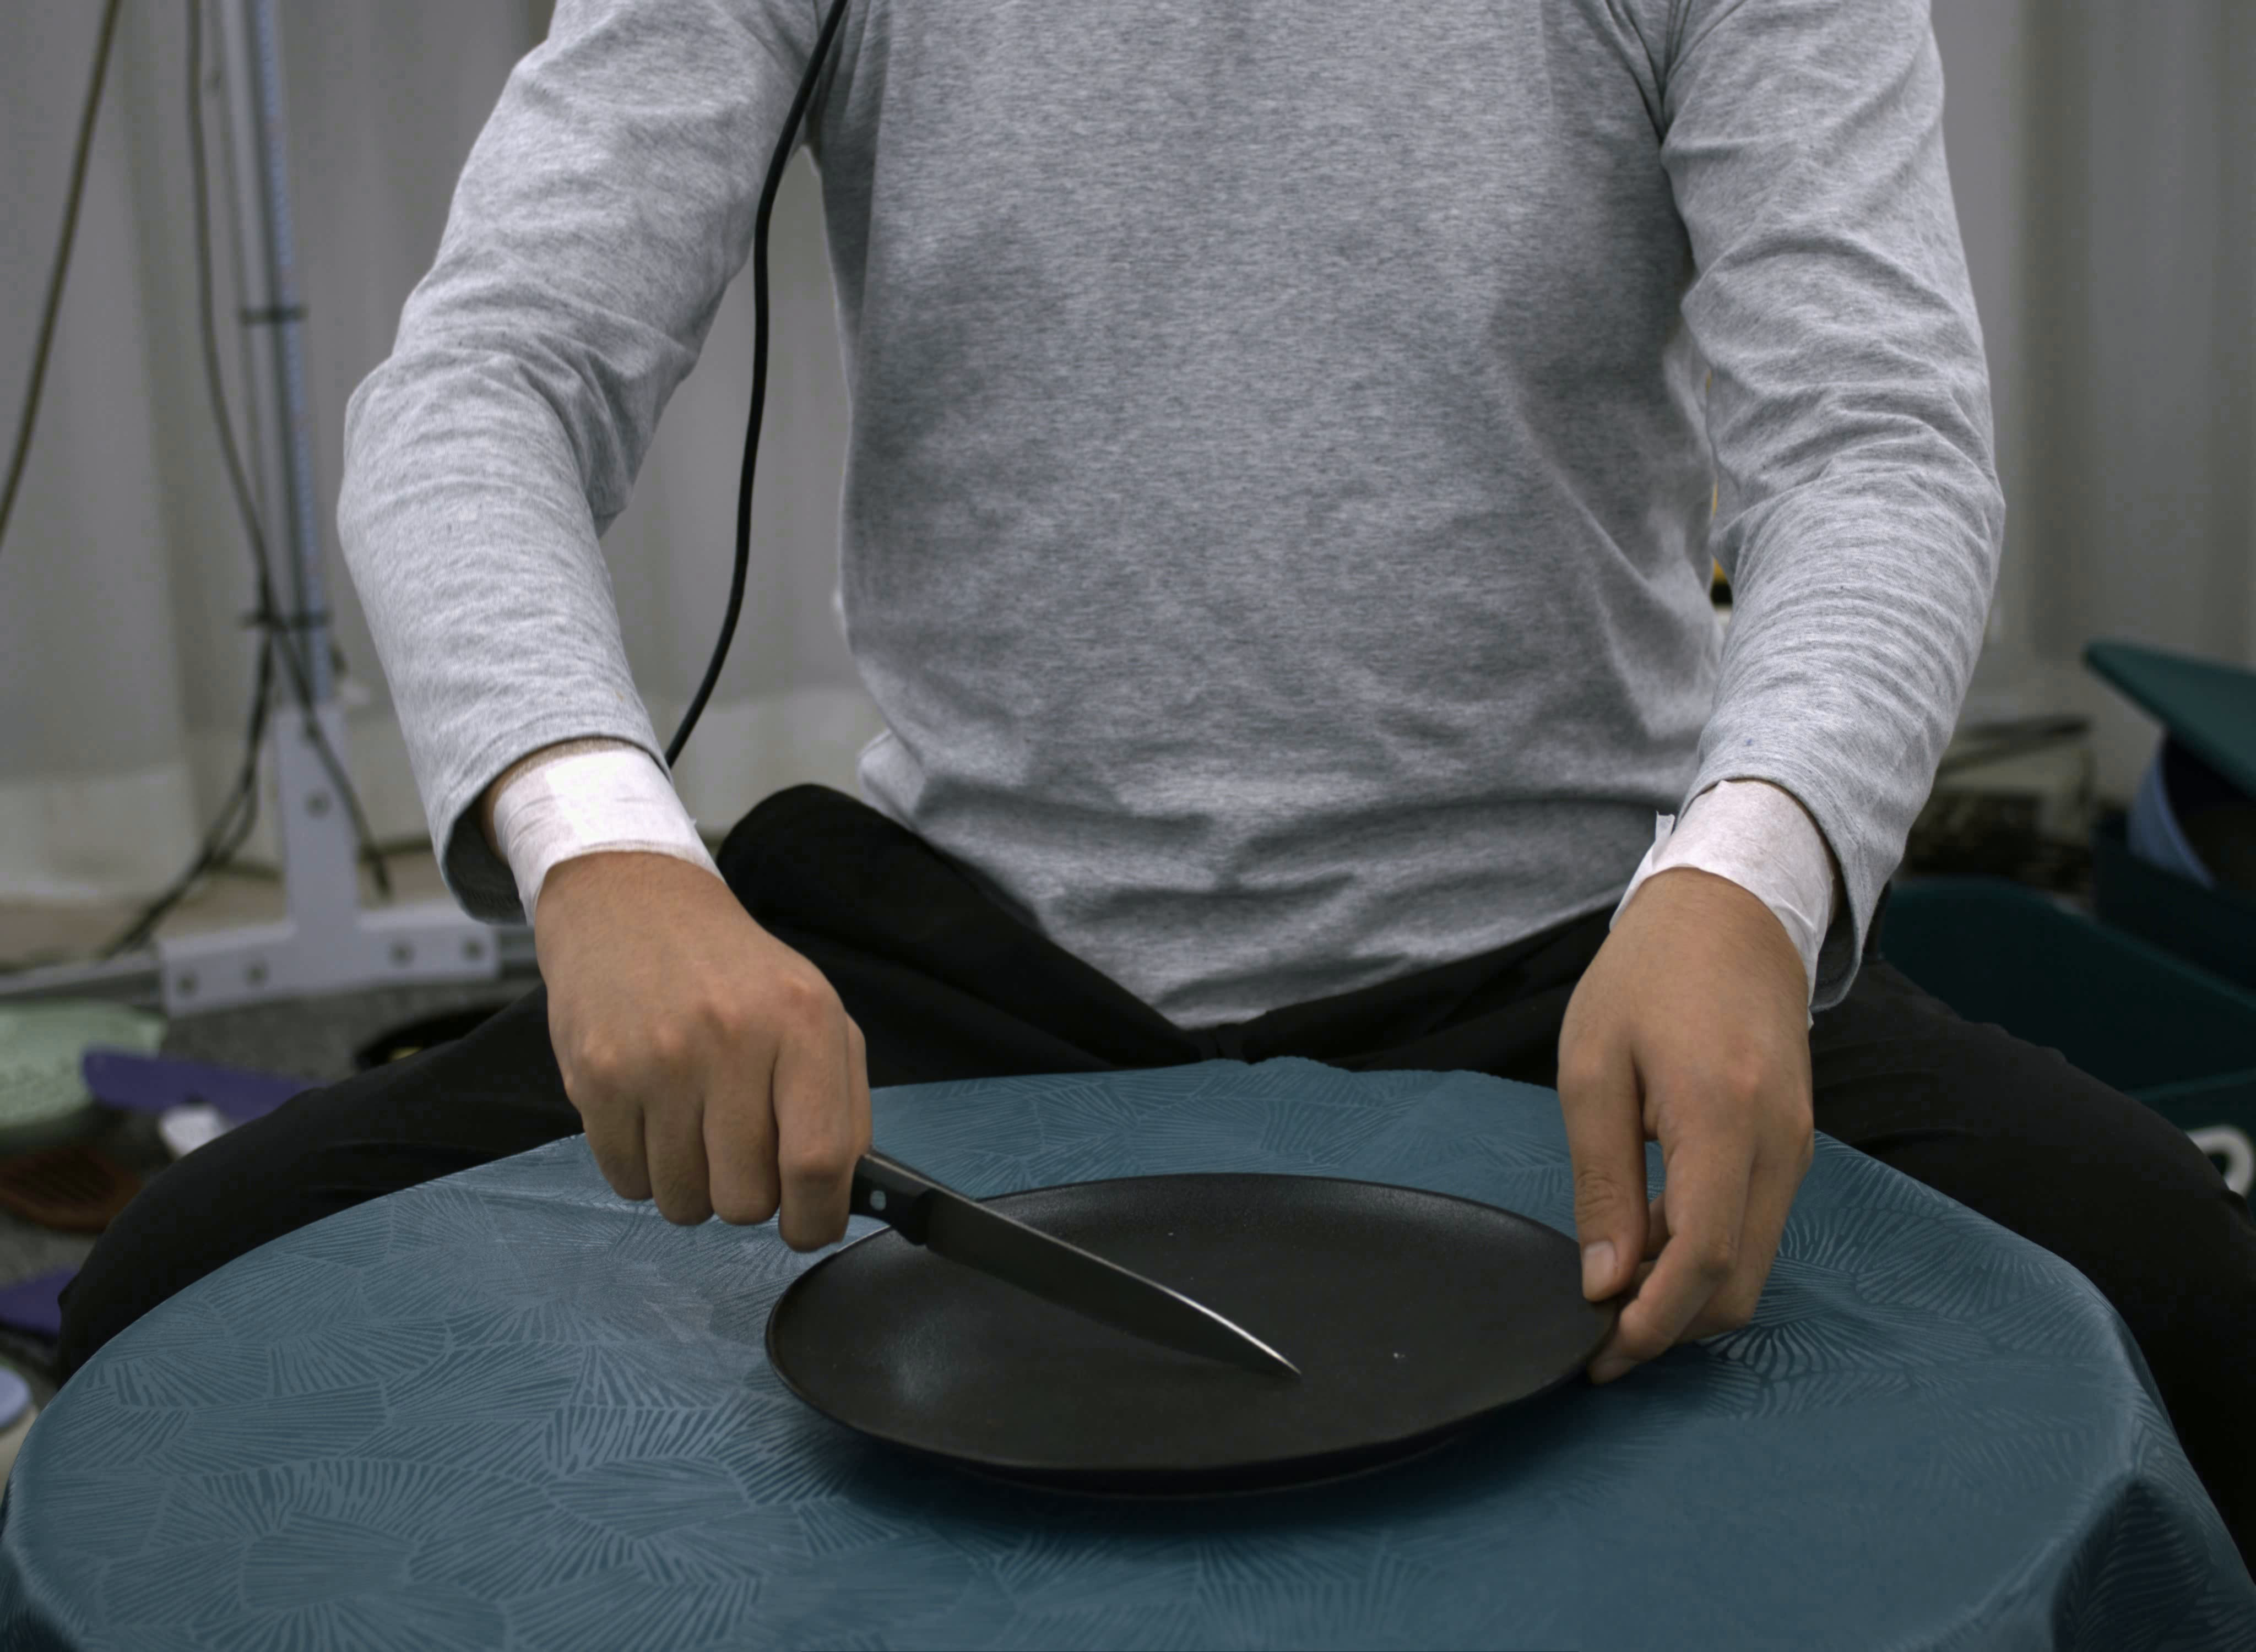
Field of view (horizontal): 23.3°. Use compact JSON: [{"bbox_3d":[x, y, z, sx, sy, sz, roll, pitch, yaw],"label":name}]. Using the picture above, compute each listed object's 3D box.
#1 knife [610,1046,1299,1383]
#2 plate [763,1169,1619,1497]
[{"bbox_3d":[-0.051,0.113,1.574,0.239,0.024,0.016,23,29,25],"label":"knife"},{"bbox_3d":[0.018,0.146,1.549,0.243,0.023,0.246,-3,15,0],"label":"plate"}]
